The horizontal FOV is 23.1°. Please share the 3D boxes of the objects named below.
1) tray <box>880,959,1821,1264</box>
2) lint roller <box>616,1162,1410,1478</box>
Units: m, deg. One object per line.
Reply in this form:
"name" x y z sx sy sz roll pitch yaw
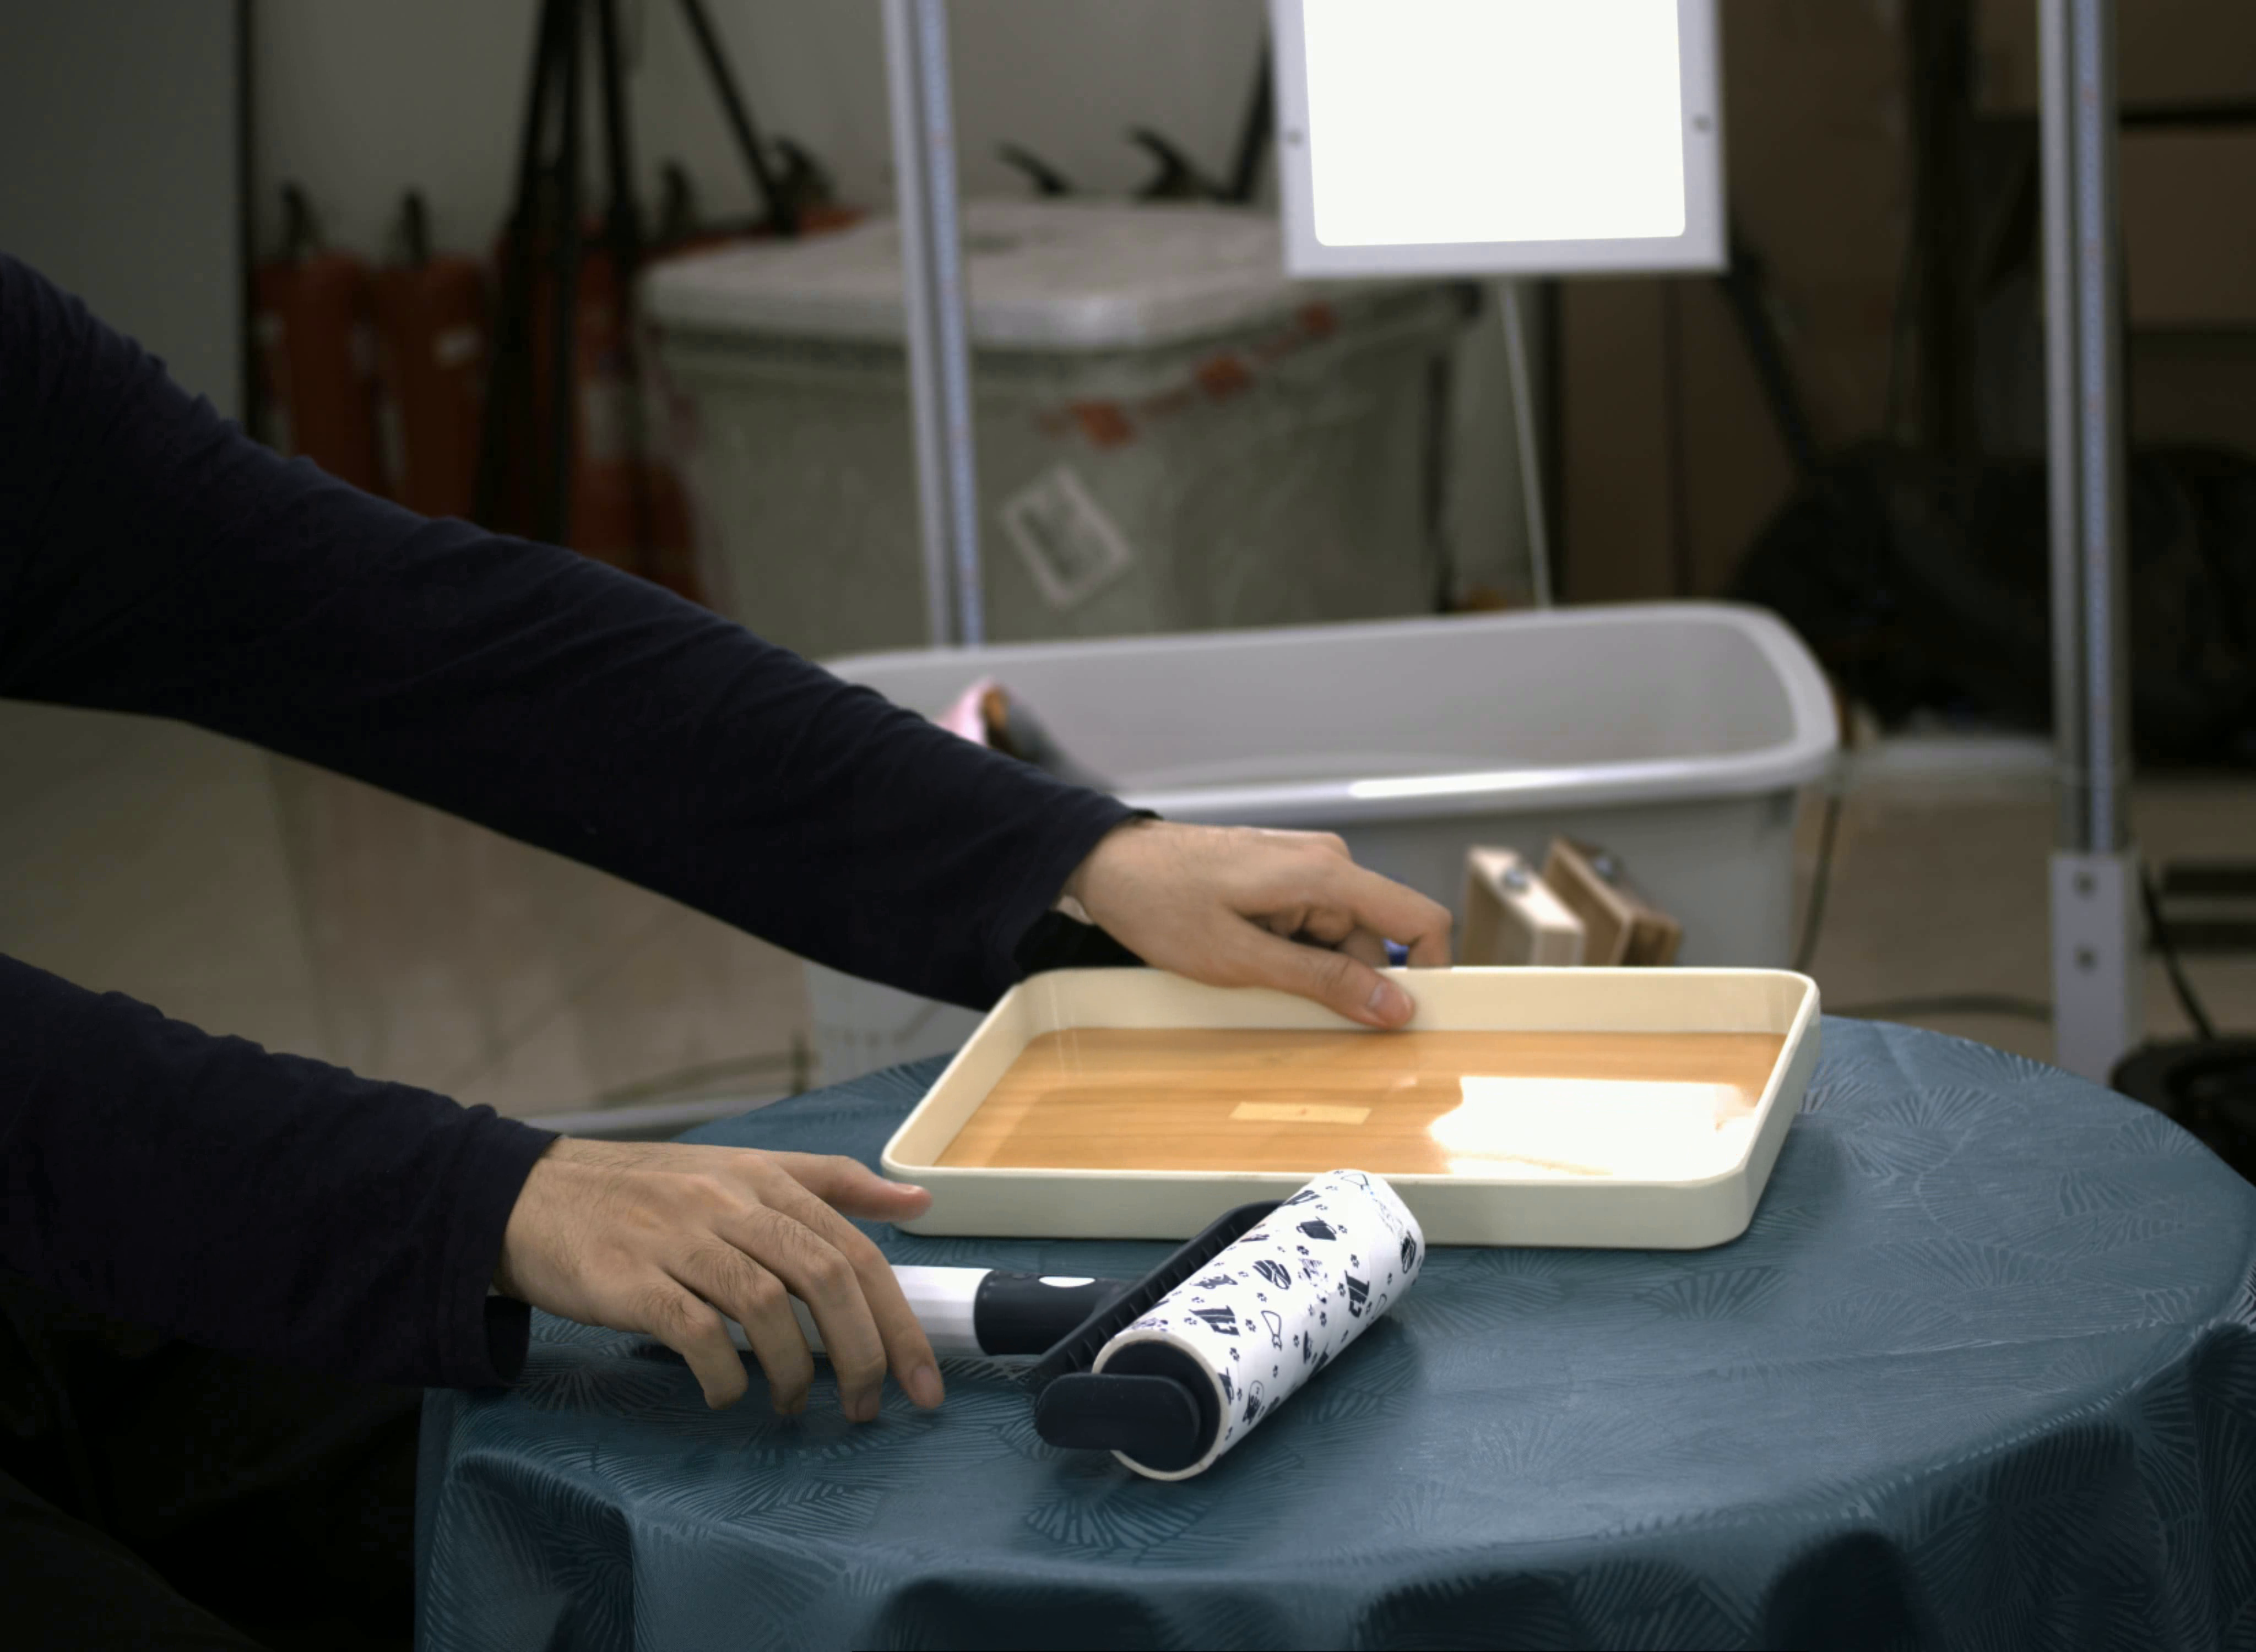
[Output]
"tray" 0.080 0.096 1.905 0.304 0.027 0.188 0 22 19
"lint roller" -0.053 0.151 1.732 0.251 0.050 0.173 -1 15 26
